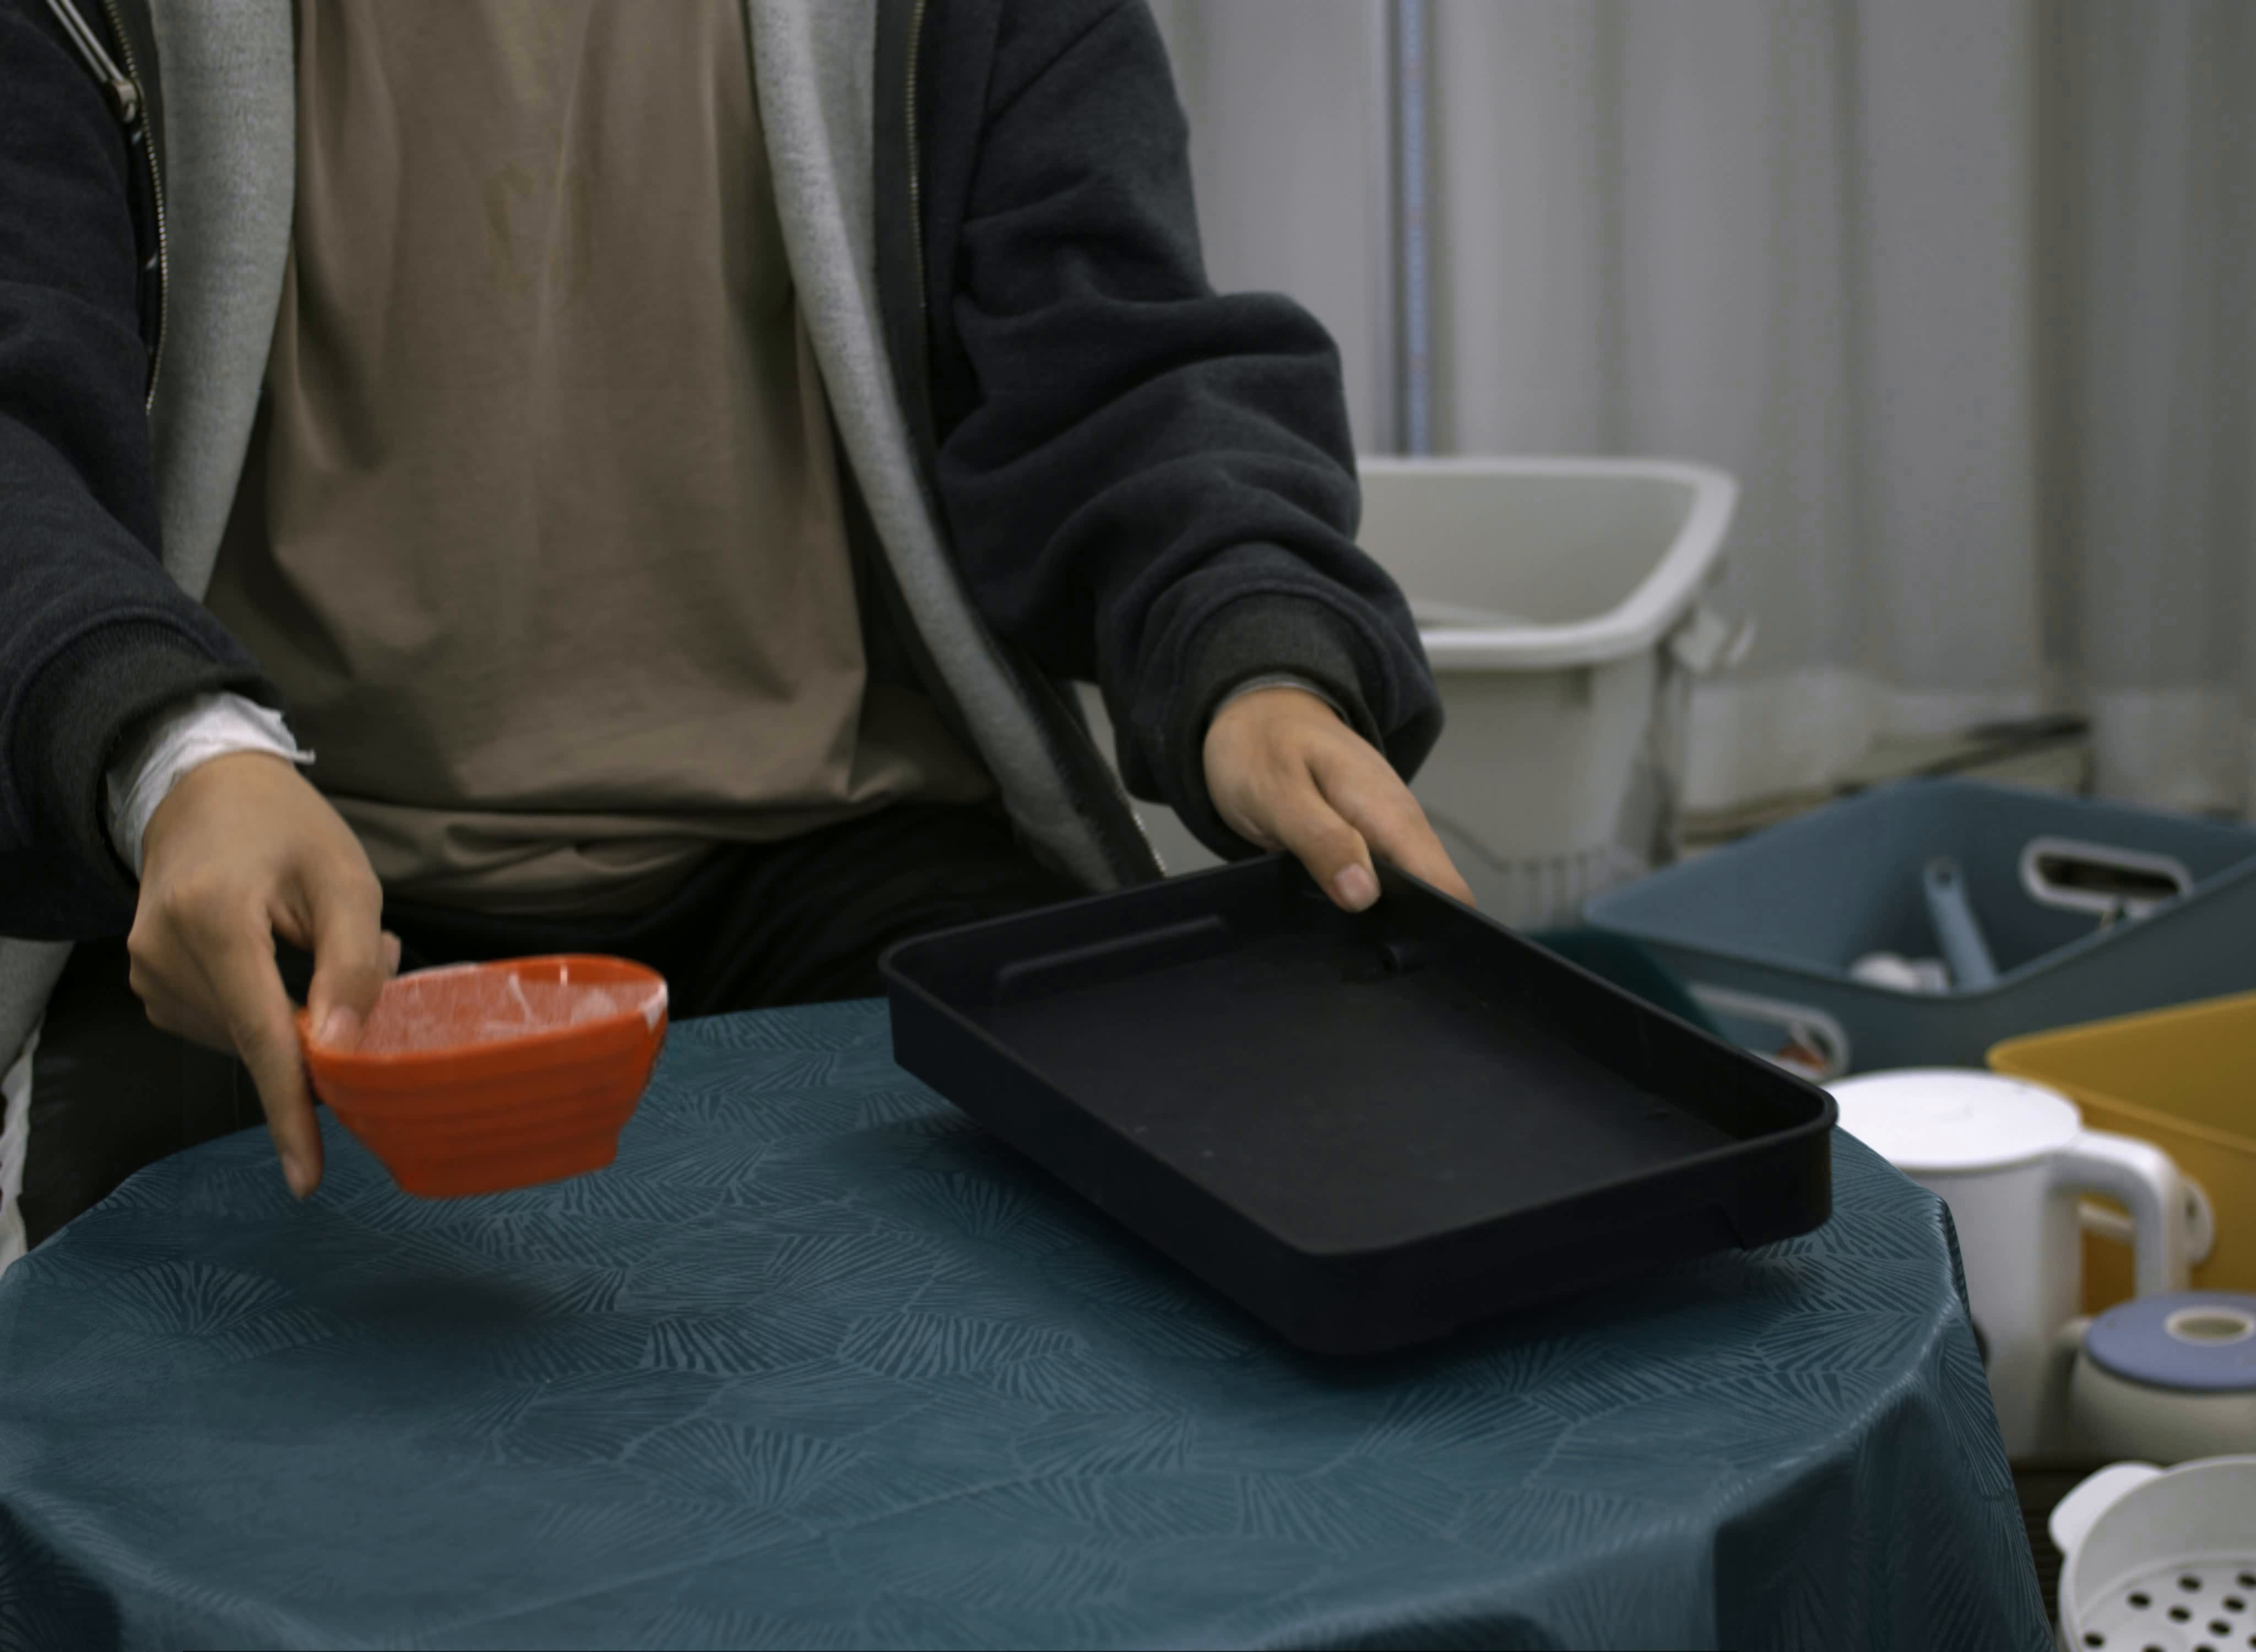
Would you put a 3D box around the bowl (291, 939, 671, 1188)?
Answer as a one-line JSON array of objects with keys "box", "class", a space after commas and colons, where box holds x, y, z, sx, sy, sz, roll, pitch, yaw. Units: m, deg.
[{"box": [-0.189, 0.072, 1.626, 0.118, 0.051, 0.119, -7, 12, 1], "class": "bowl"}]

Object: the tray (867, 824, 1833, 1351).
[{"box": [0.061, 0.074, 1.687, 0.183, 0.037, 0.321, -13, 21, -24], "class": "tray"}]
